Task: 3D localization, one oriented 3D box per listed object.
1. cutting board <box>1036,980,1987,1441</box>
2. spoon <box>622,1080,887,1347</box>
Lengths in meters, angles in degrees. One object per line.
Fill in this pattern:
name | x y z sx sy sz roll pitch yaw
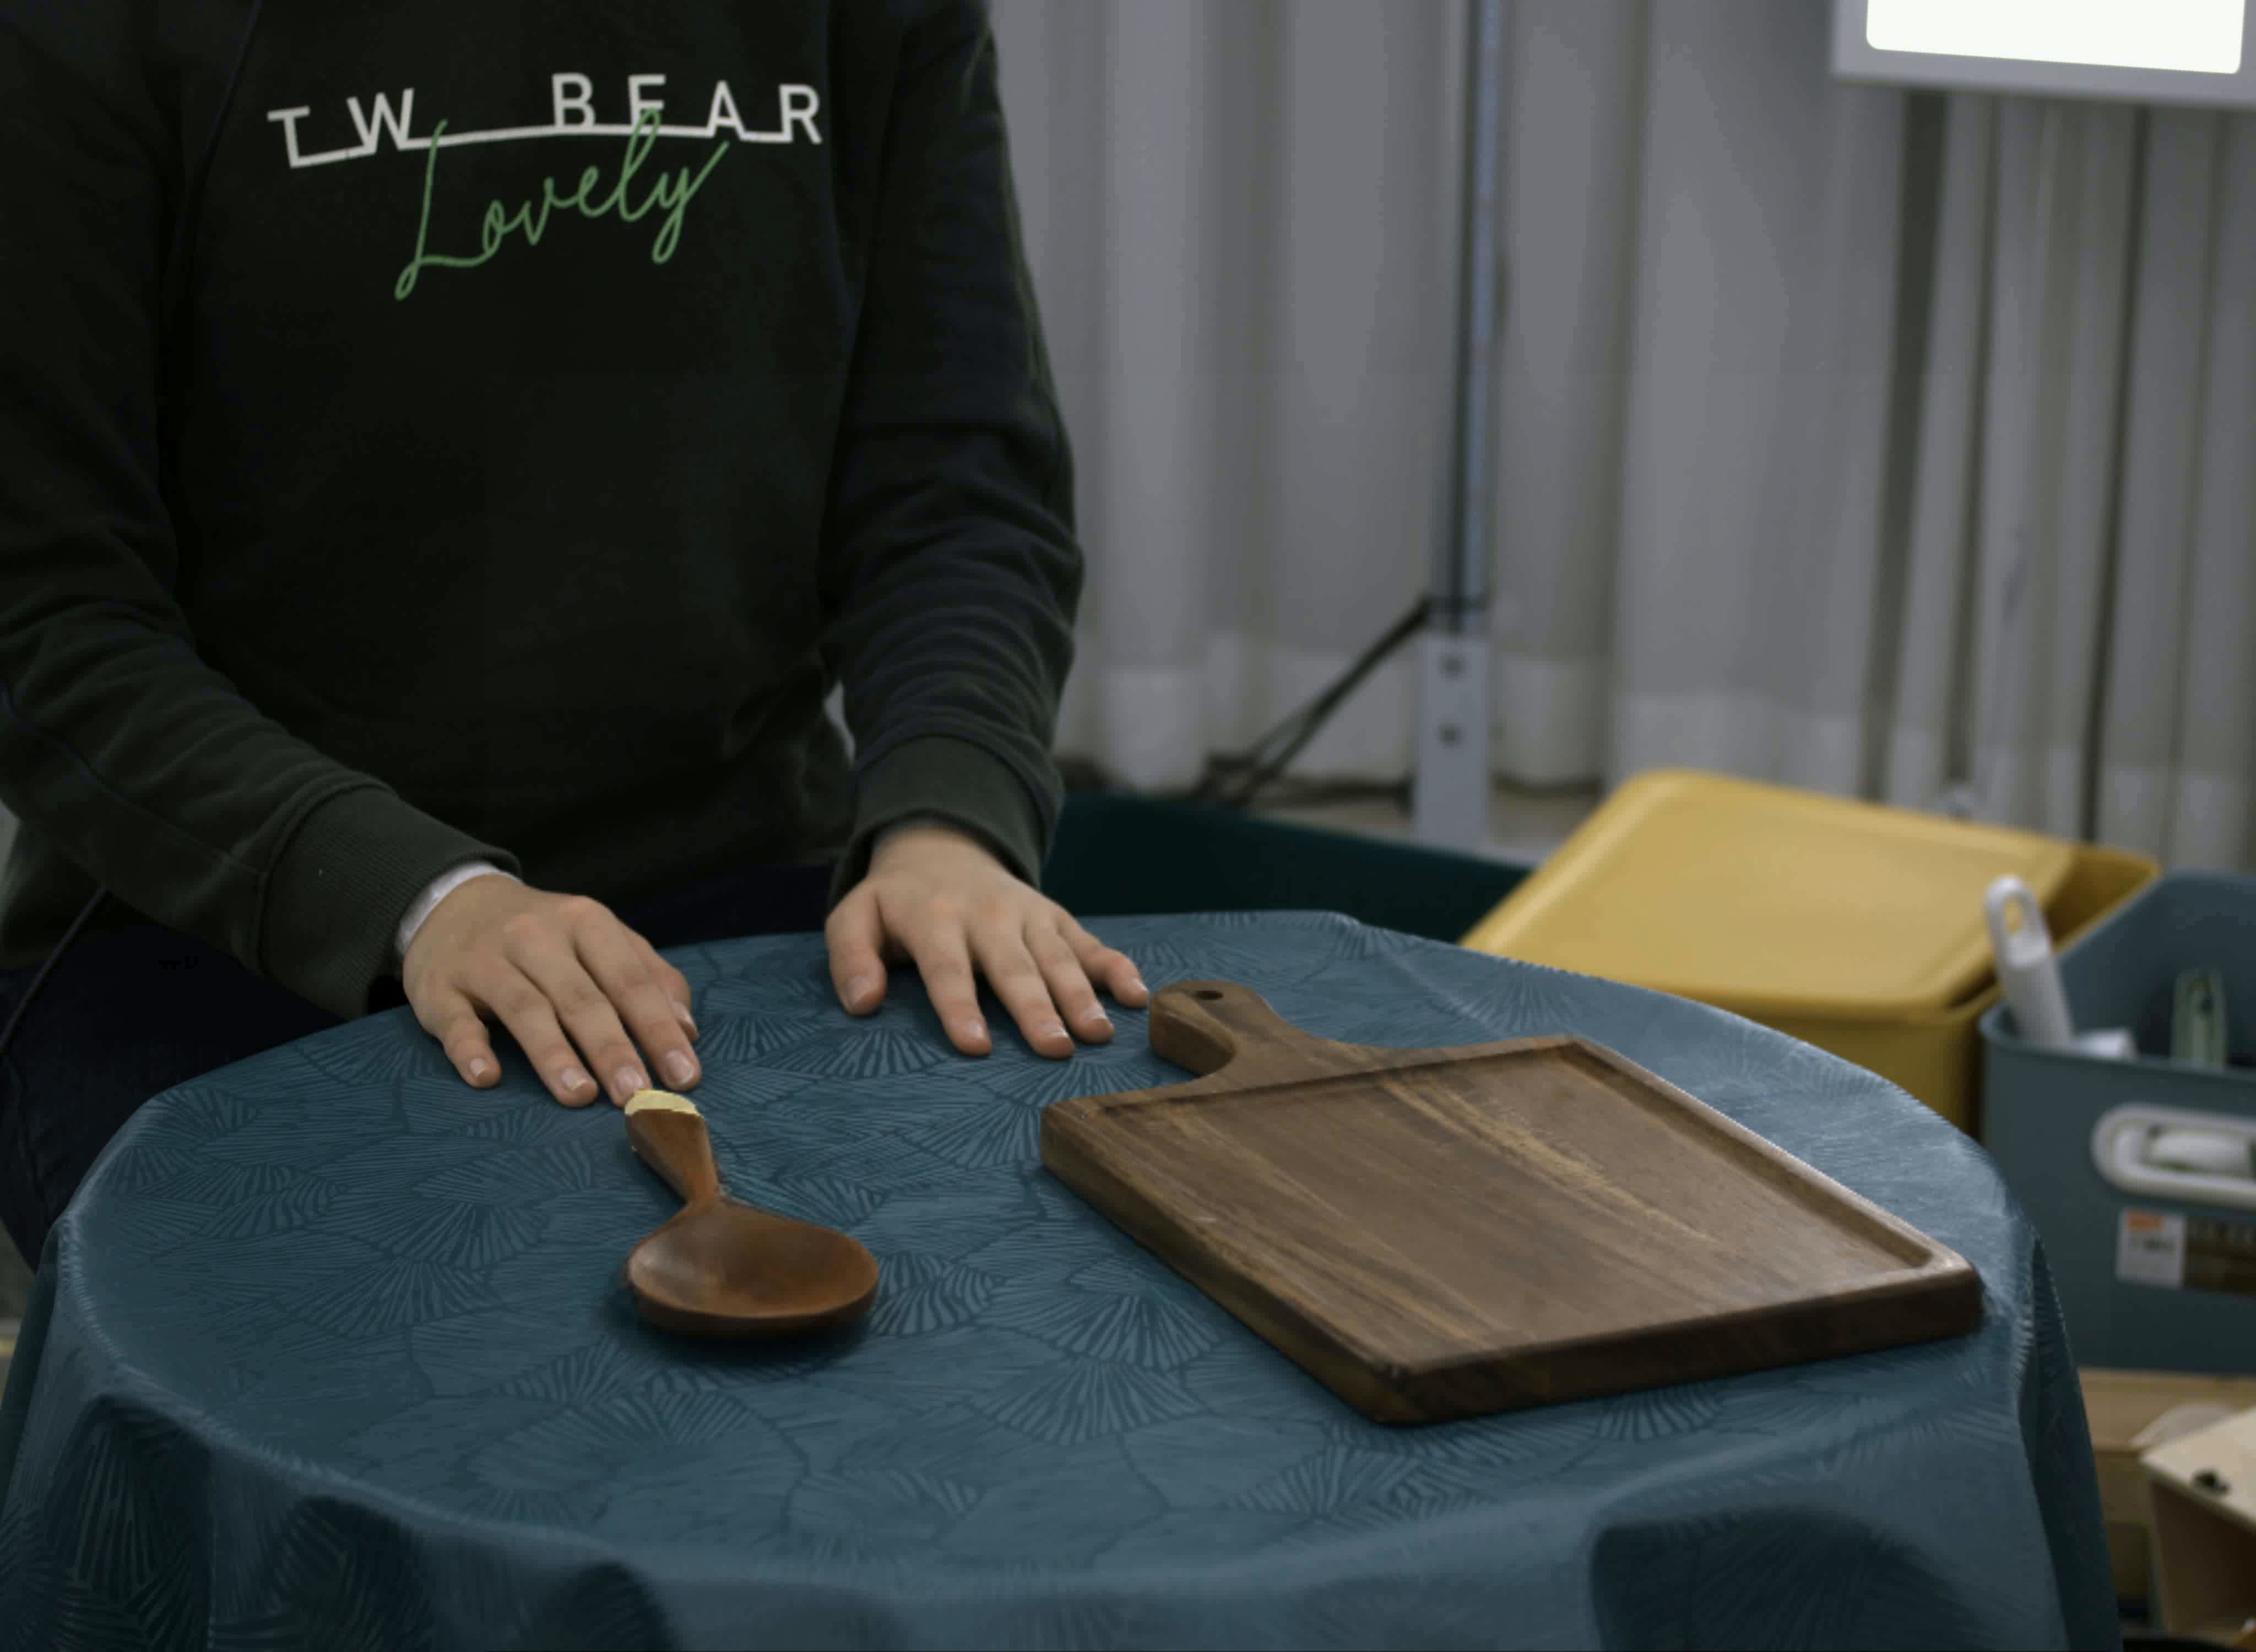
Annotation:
cutting board | 0.089 0.105 1.623 0.202 0.023 0.348 -7 17 -23
spoon | -0.123 0.116 1.575 0.075 0.017 0.213 -5 17 -14
